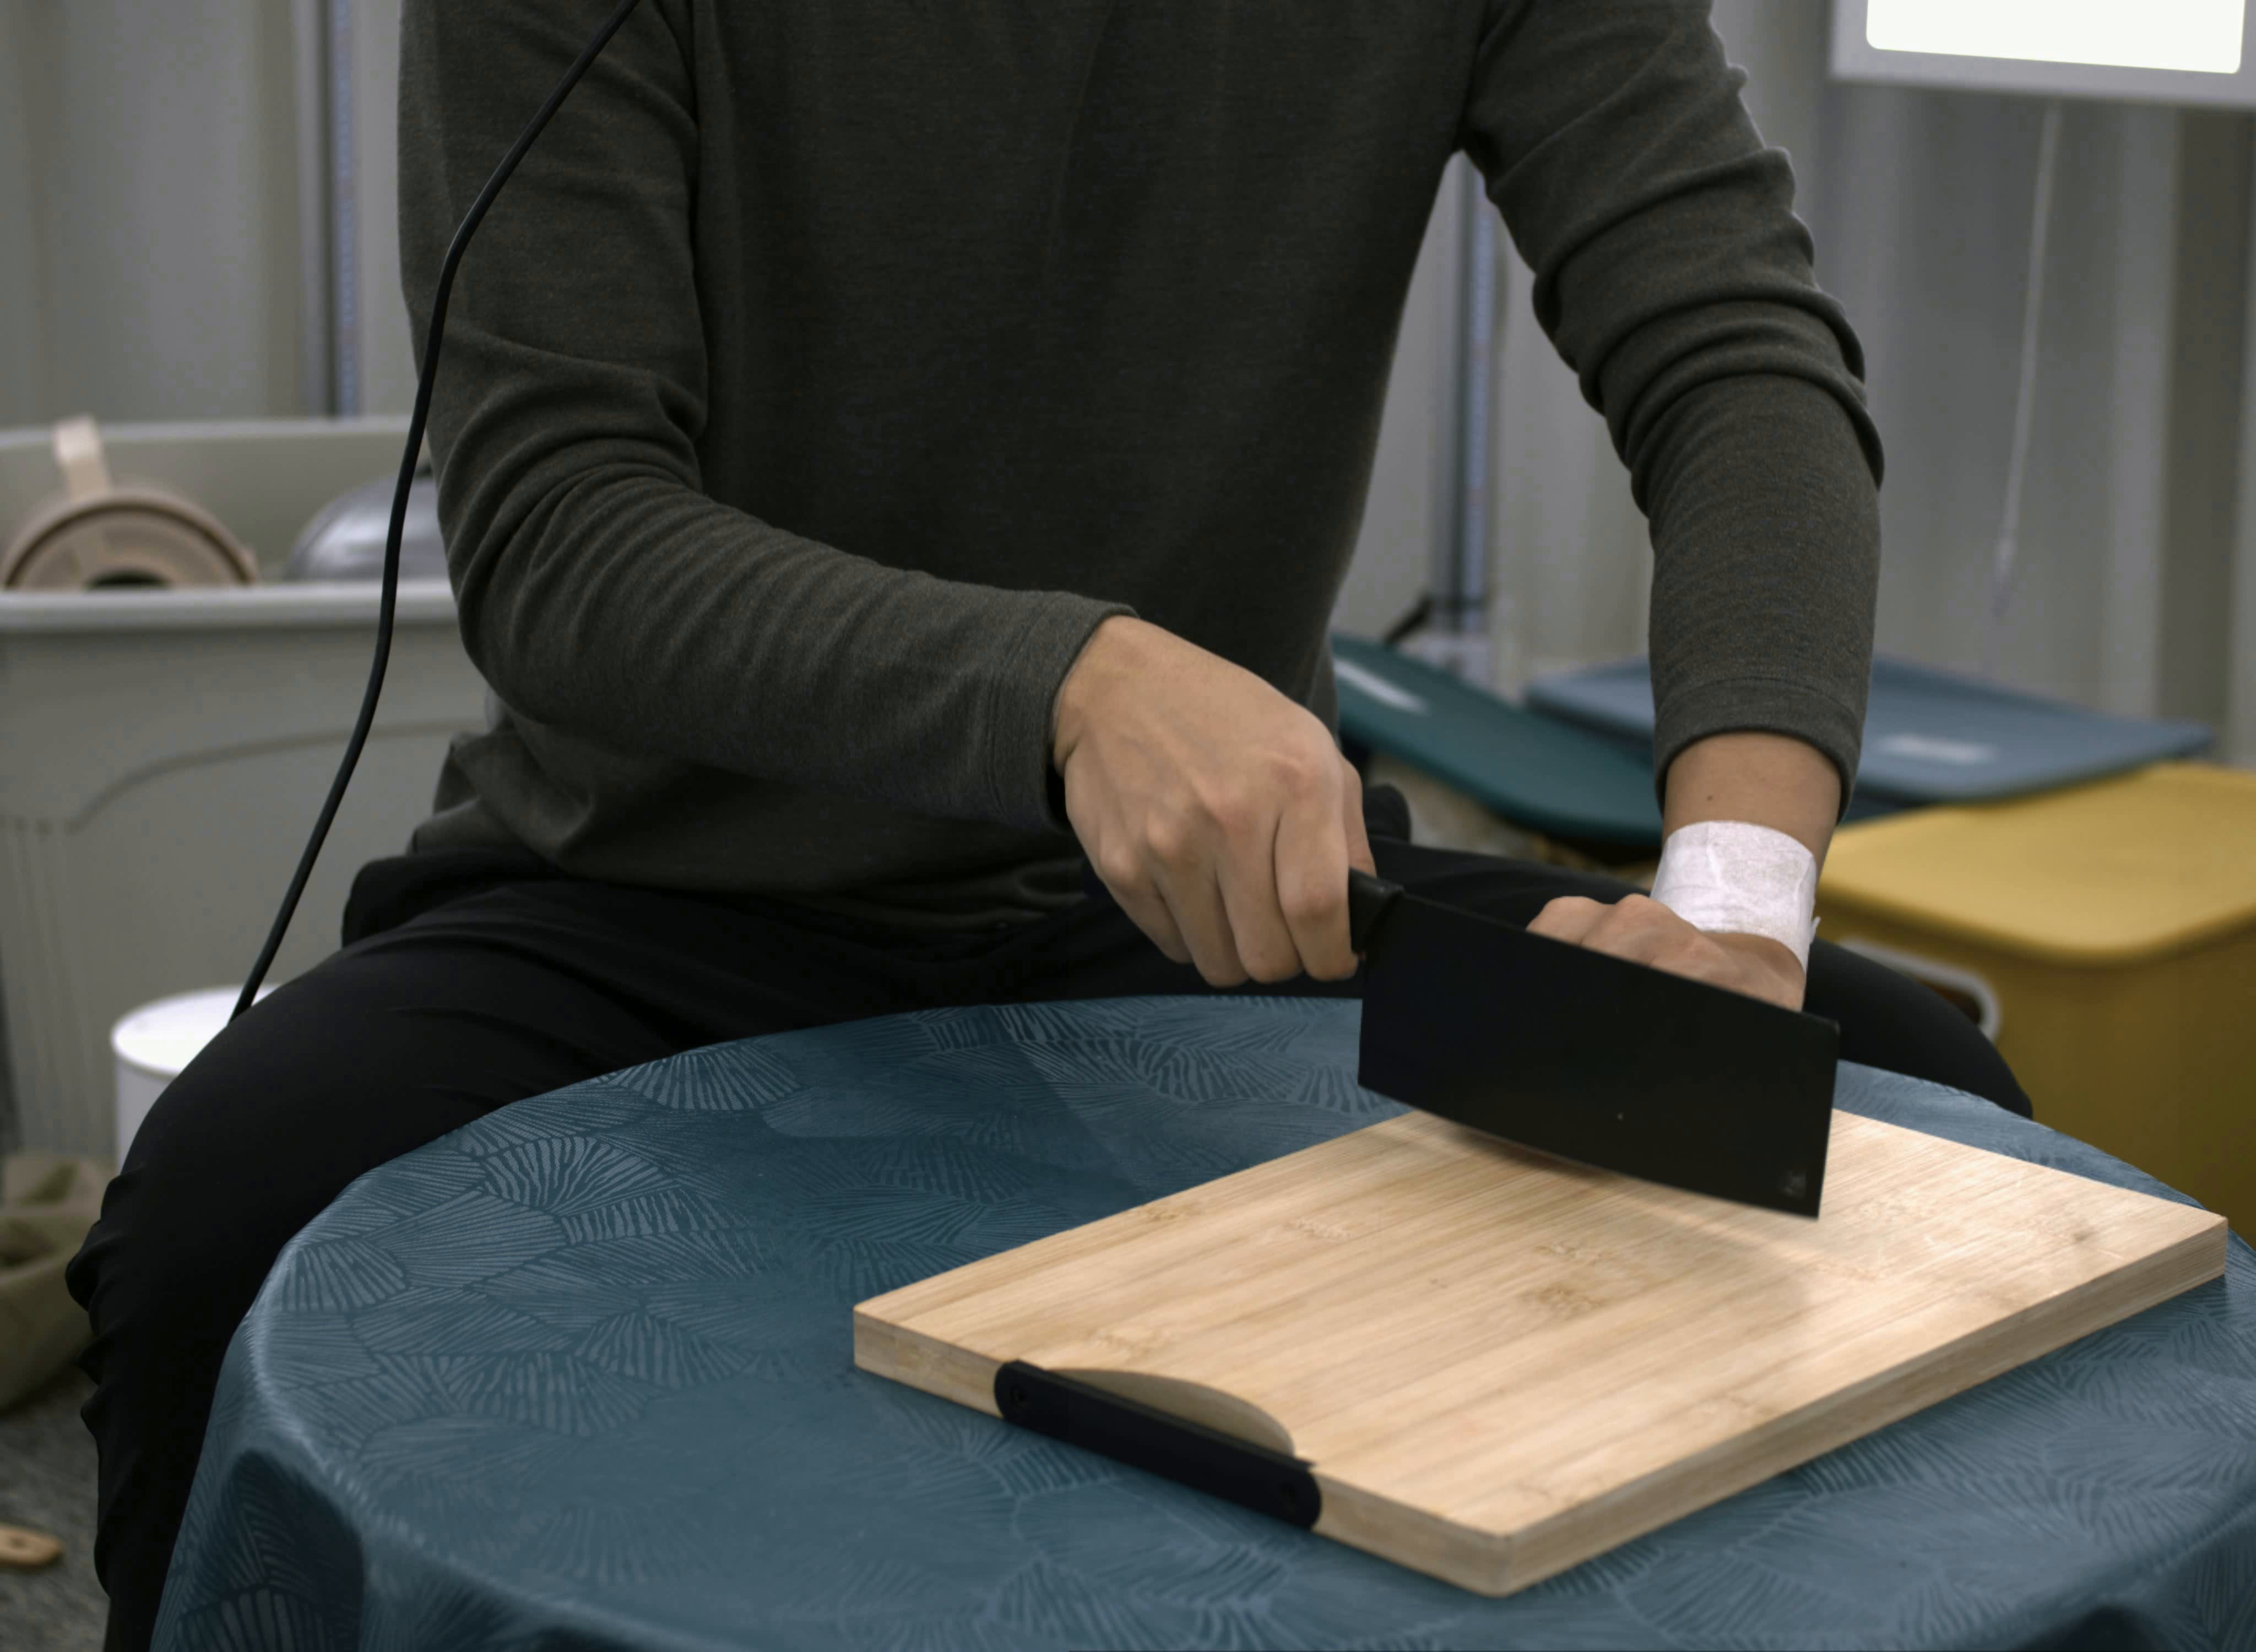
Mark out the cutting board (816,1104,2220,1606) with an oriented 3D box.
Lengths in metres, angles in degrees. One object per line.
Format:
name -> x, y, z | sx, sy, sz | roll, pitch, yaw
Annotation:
cutting board -> 0.119, 0.135, 1.517 | 0.247, 0.024, 0.350 | 13, 20, 41

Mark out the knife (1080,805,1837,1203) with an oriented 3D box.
knife -> 0.095, 0.048, 1.608 | 0.298, 0.081, 0.021 | 21, 21, 40
